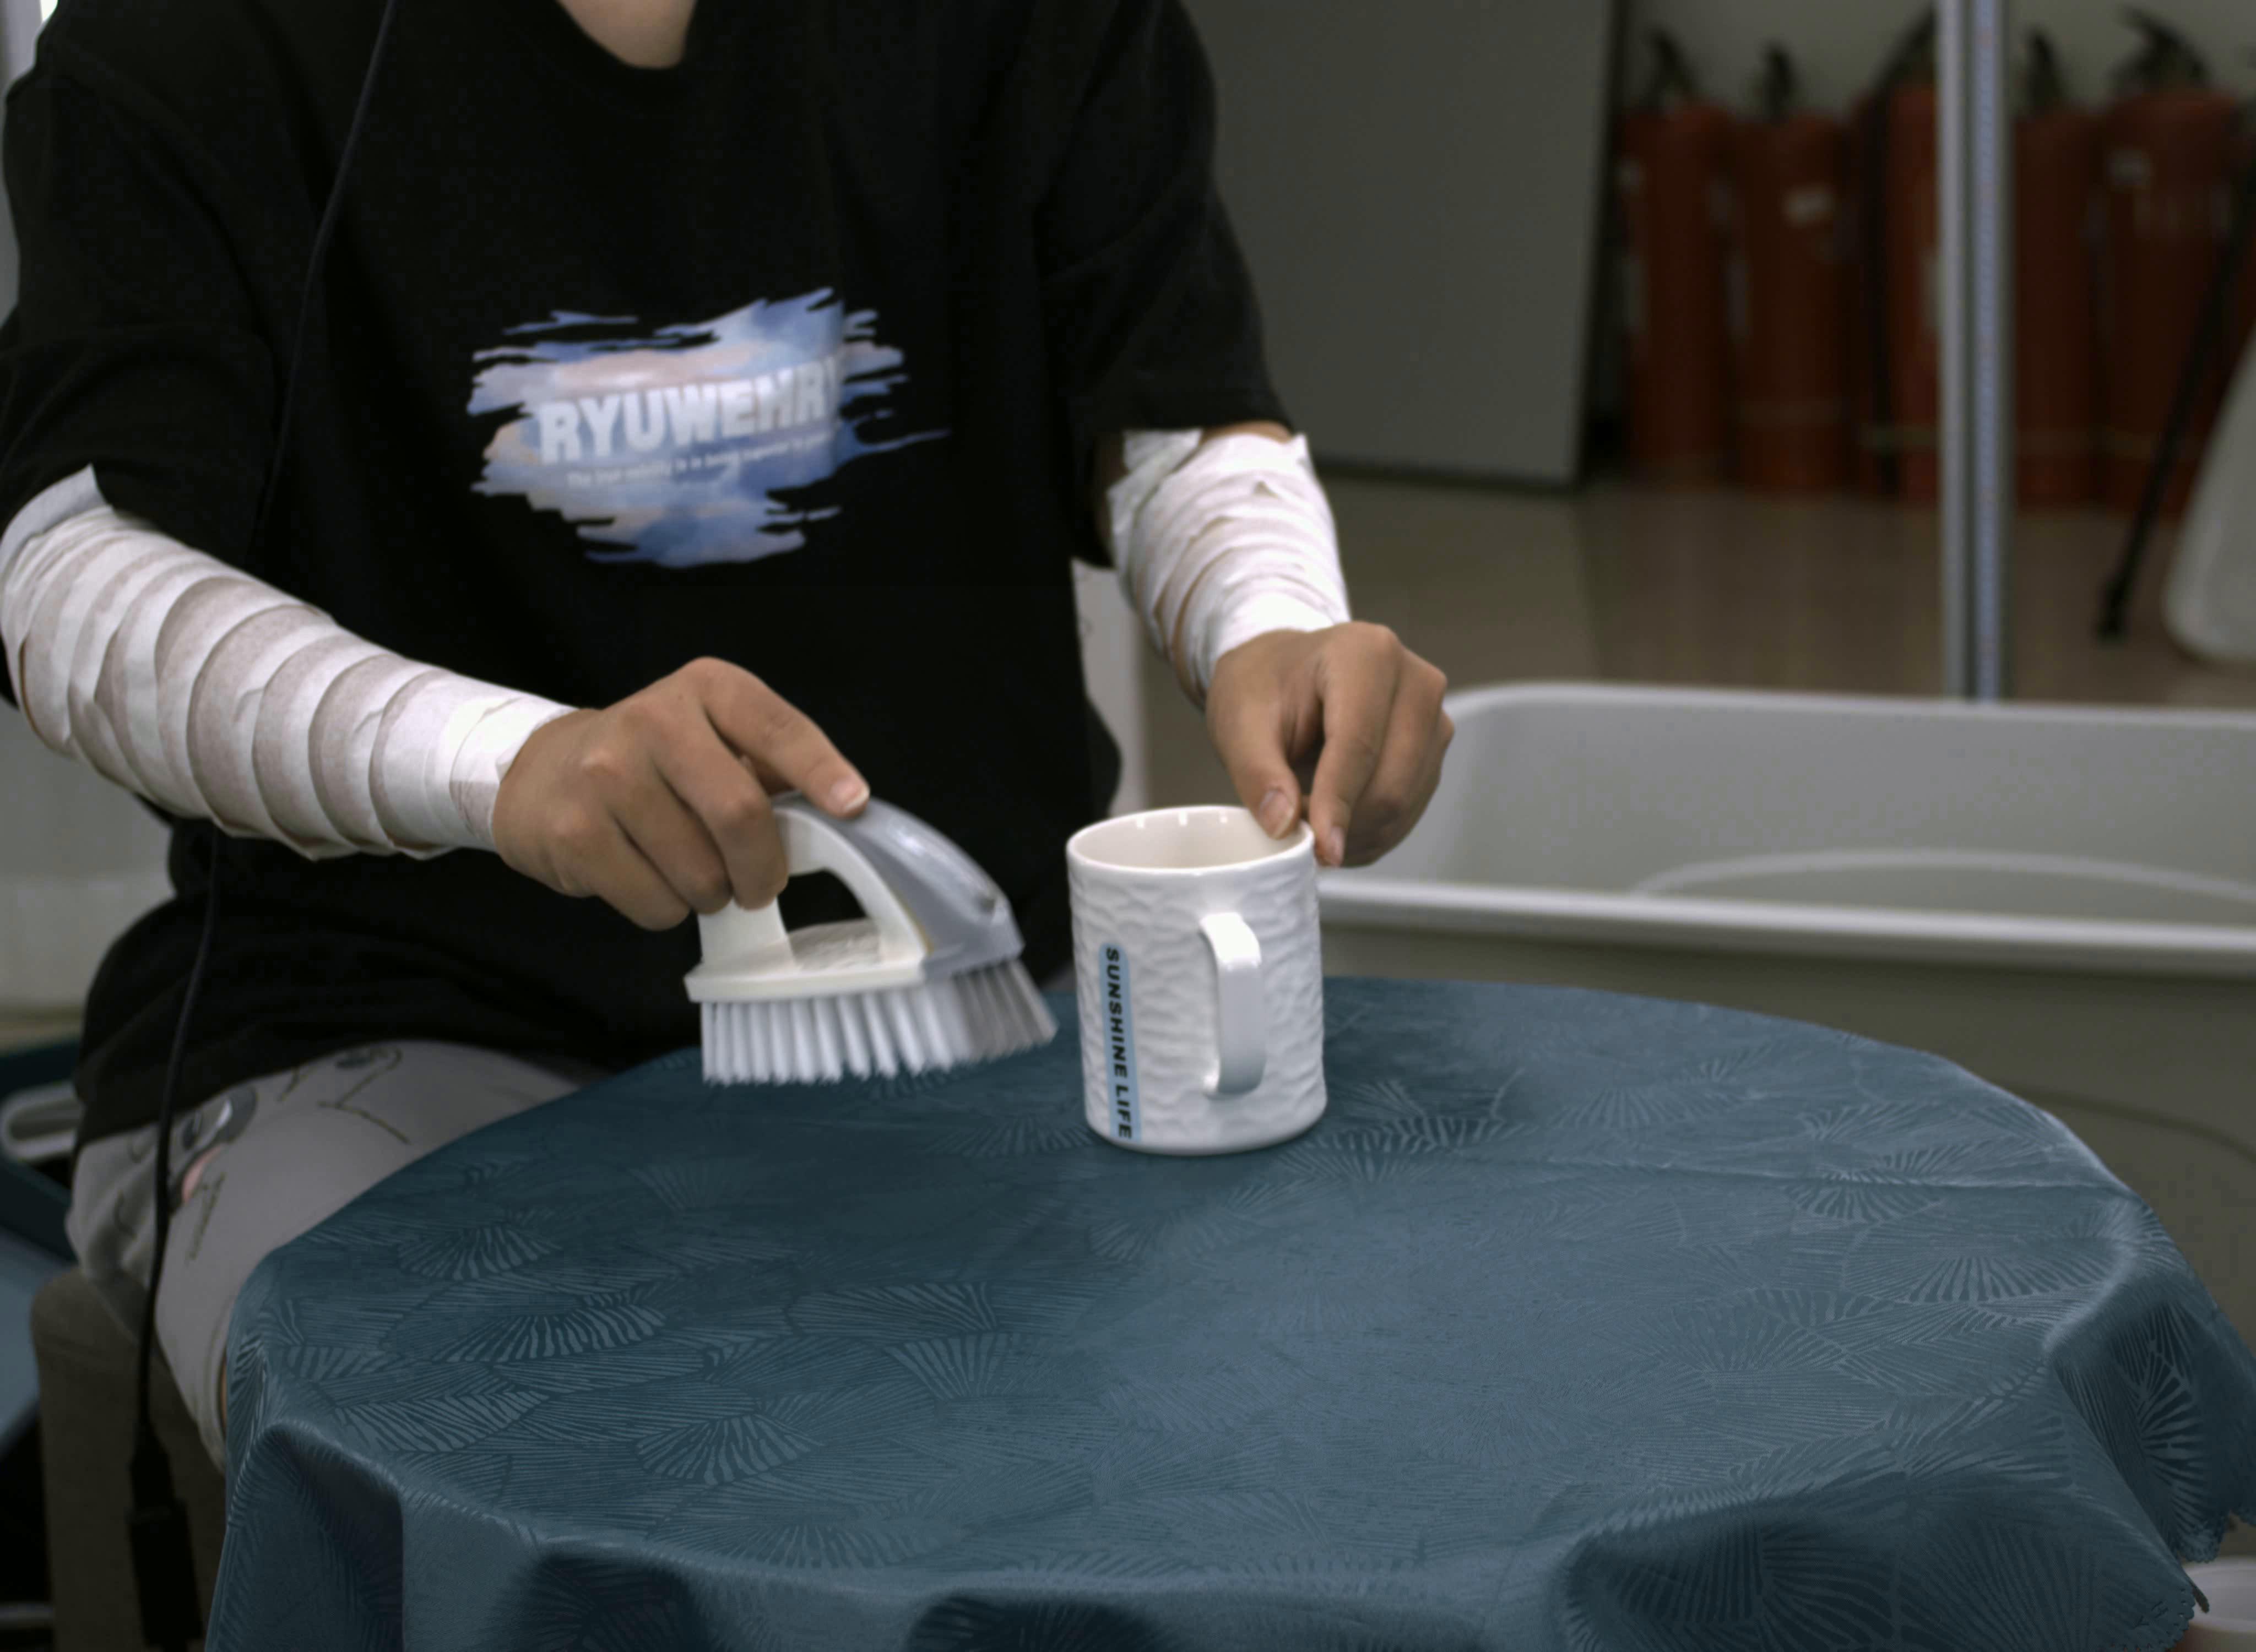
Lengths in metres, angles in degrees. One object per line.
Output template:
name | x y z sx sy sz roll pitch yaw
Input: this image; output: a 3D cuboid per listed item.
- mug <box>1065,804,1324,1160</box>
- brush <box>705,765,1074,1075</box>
mug | 0.027 0.056 1.813 0.083 0.103 0.119 -7 14 -12
brush | -0.080 0.025 1.713 0.060 0.095 0.177 -28 13 -30
